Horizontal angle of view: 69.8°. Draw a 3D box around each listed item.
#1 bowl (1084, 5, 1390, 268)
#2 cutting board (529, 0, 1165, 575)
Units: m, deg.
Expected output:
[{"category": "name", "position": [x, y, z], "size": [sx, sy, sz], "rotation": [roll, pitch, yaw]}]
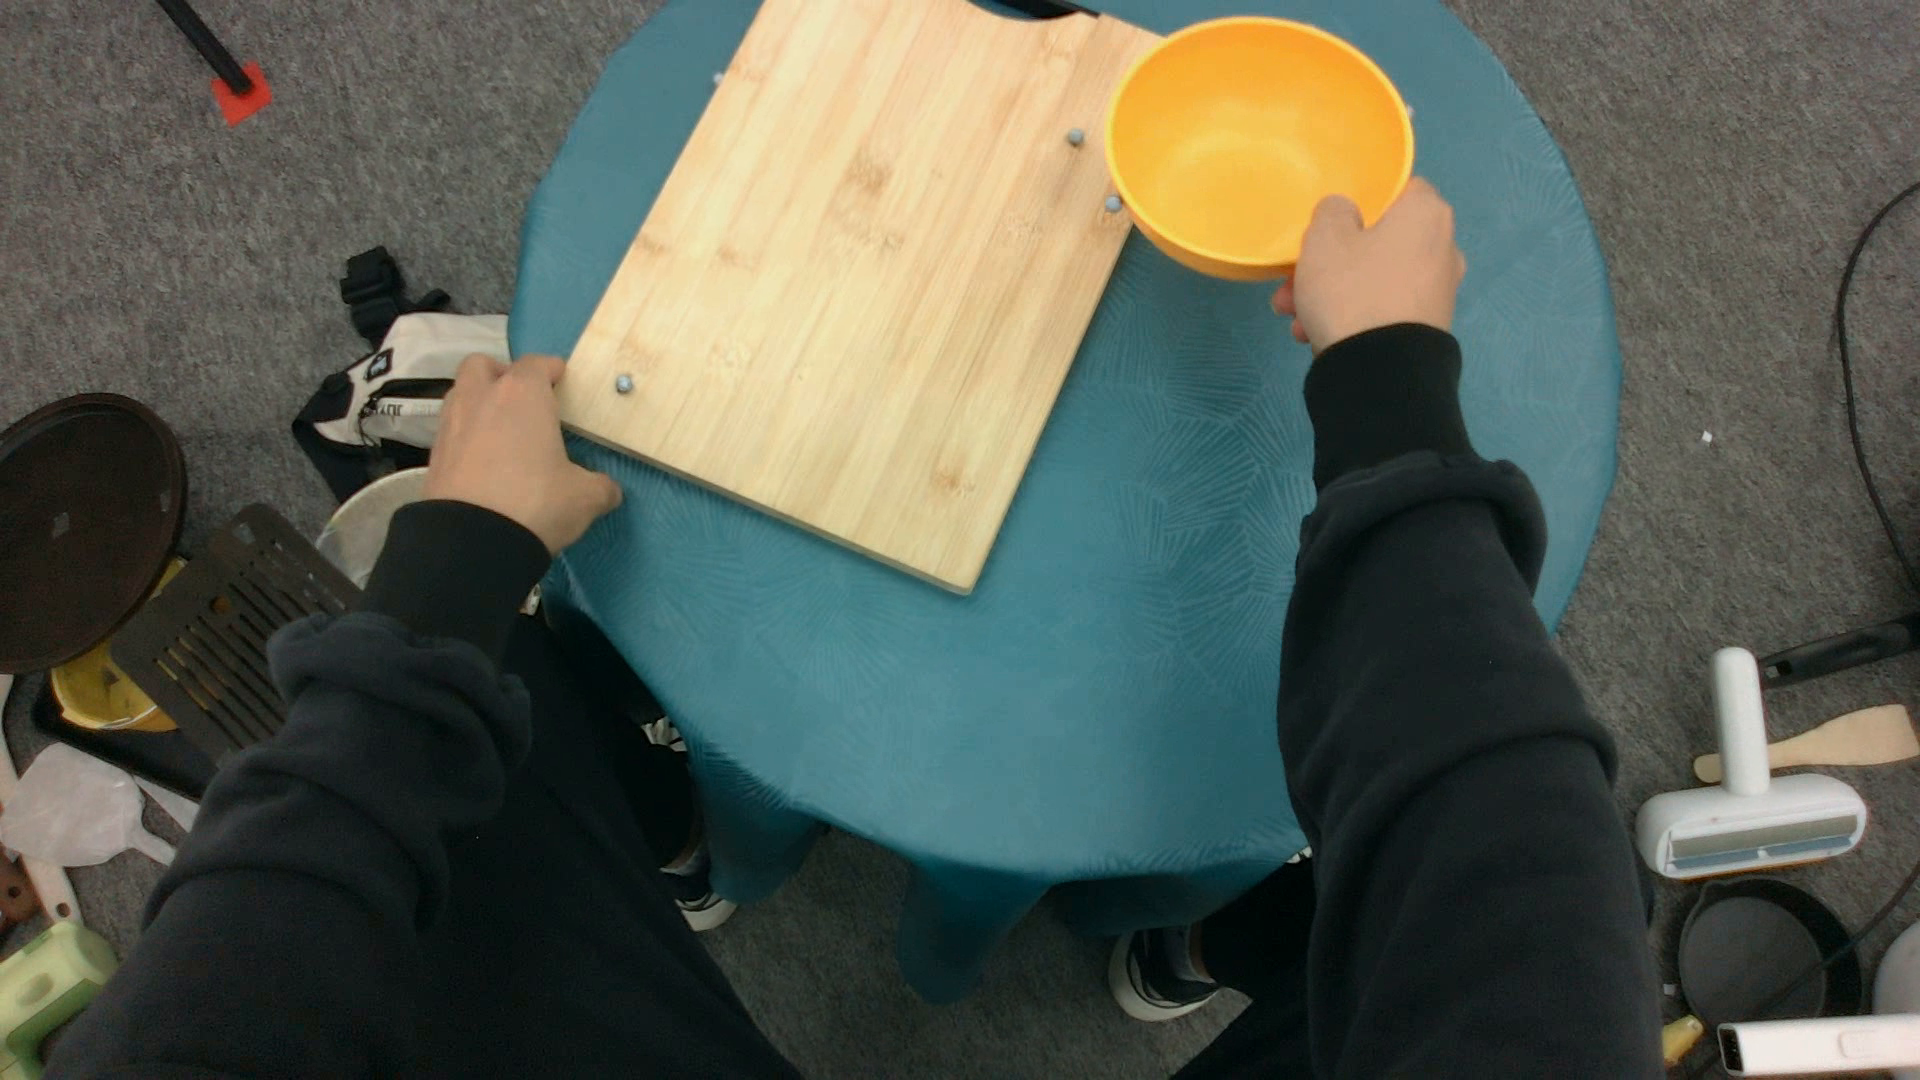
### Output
[{"category": "bowl", "position": [0.134, -0.189, 0.684], "size": [0.145, 0.060, 0.146], "rotation": [-1, 69, 3]}, {"category": "cutting board", "position": [-0.046, -0.179, 0.752], "size": [0.250, 0.023, 0.349], "rotation": [21, 74, 4]}]
